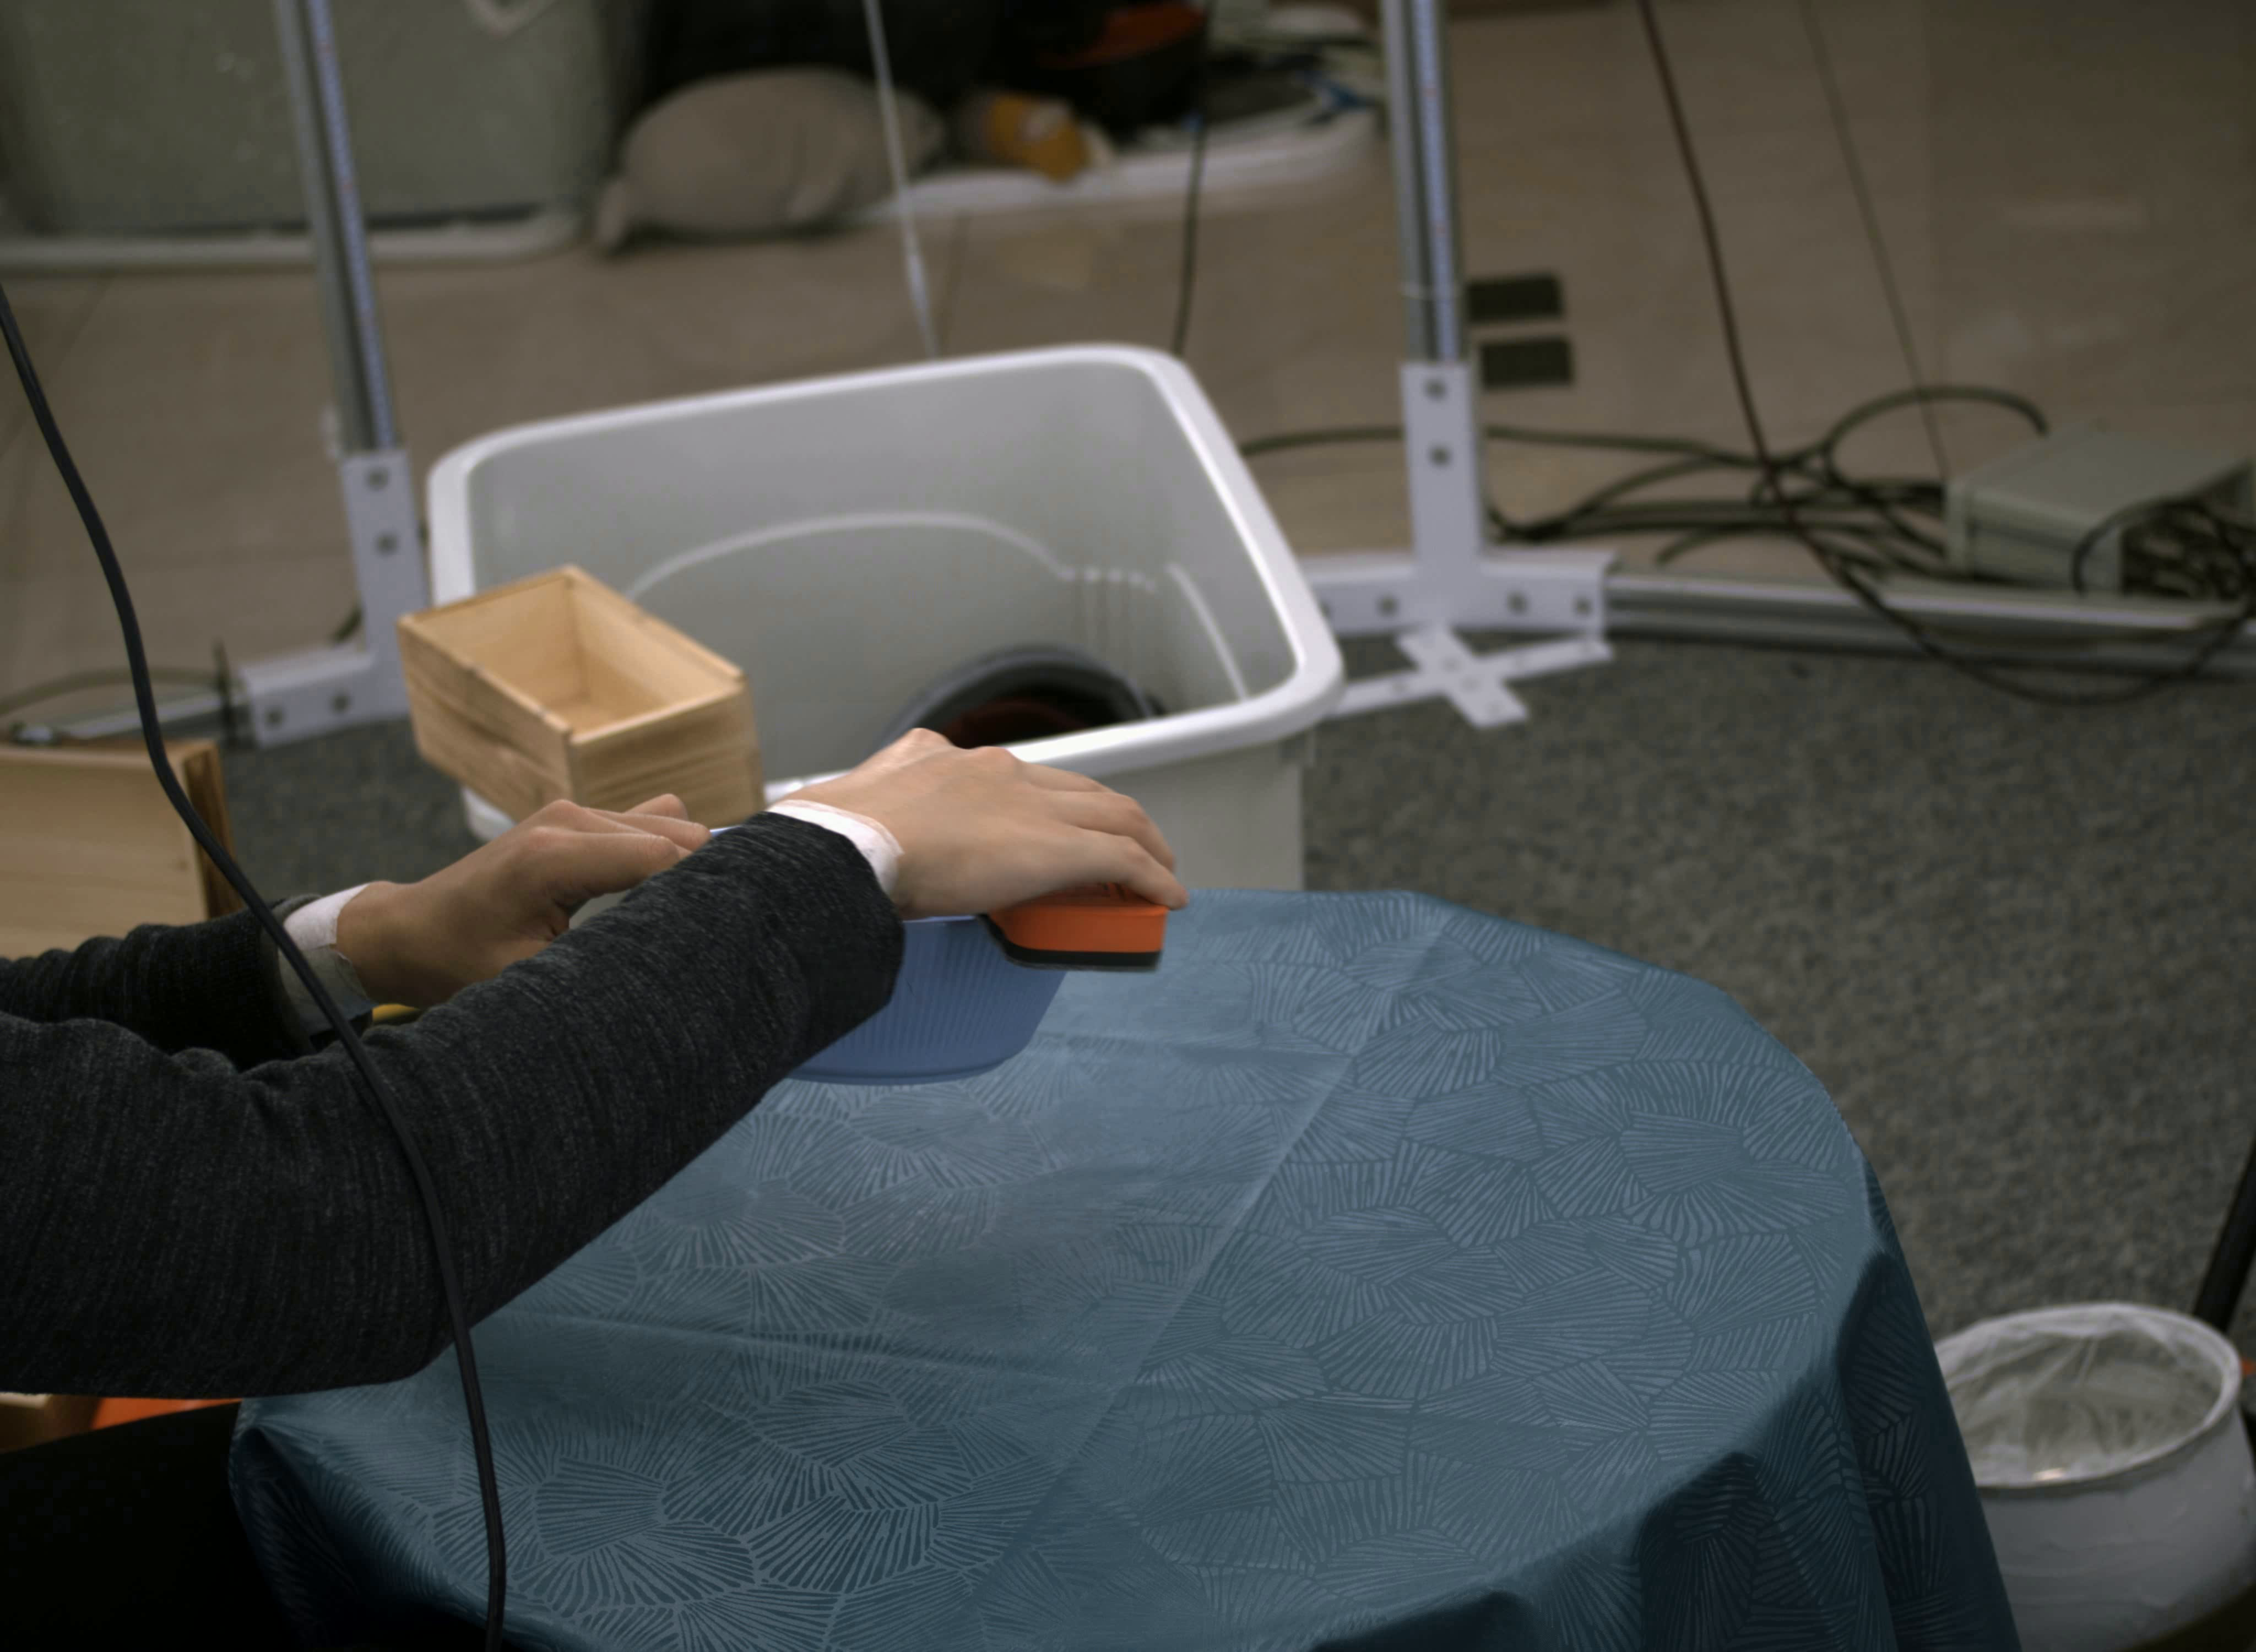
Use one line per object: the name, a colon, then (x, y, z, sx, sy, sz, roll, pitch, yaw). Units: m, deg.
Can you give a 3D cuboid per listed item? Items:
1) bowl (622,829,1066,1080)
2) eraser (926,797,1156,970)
bowl: (-0.097, 0.047, 2.054, 0.176, 0.071, 0.175, 4, 10, -1)
eraser: (-0.031, 0.019, 1.989, 0.059, 0.023, 0.106, 3, 21, -20)
